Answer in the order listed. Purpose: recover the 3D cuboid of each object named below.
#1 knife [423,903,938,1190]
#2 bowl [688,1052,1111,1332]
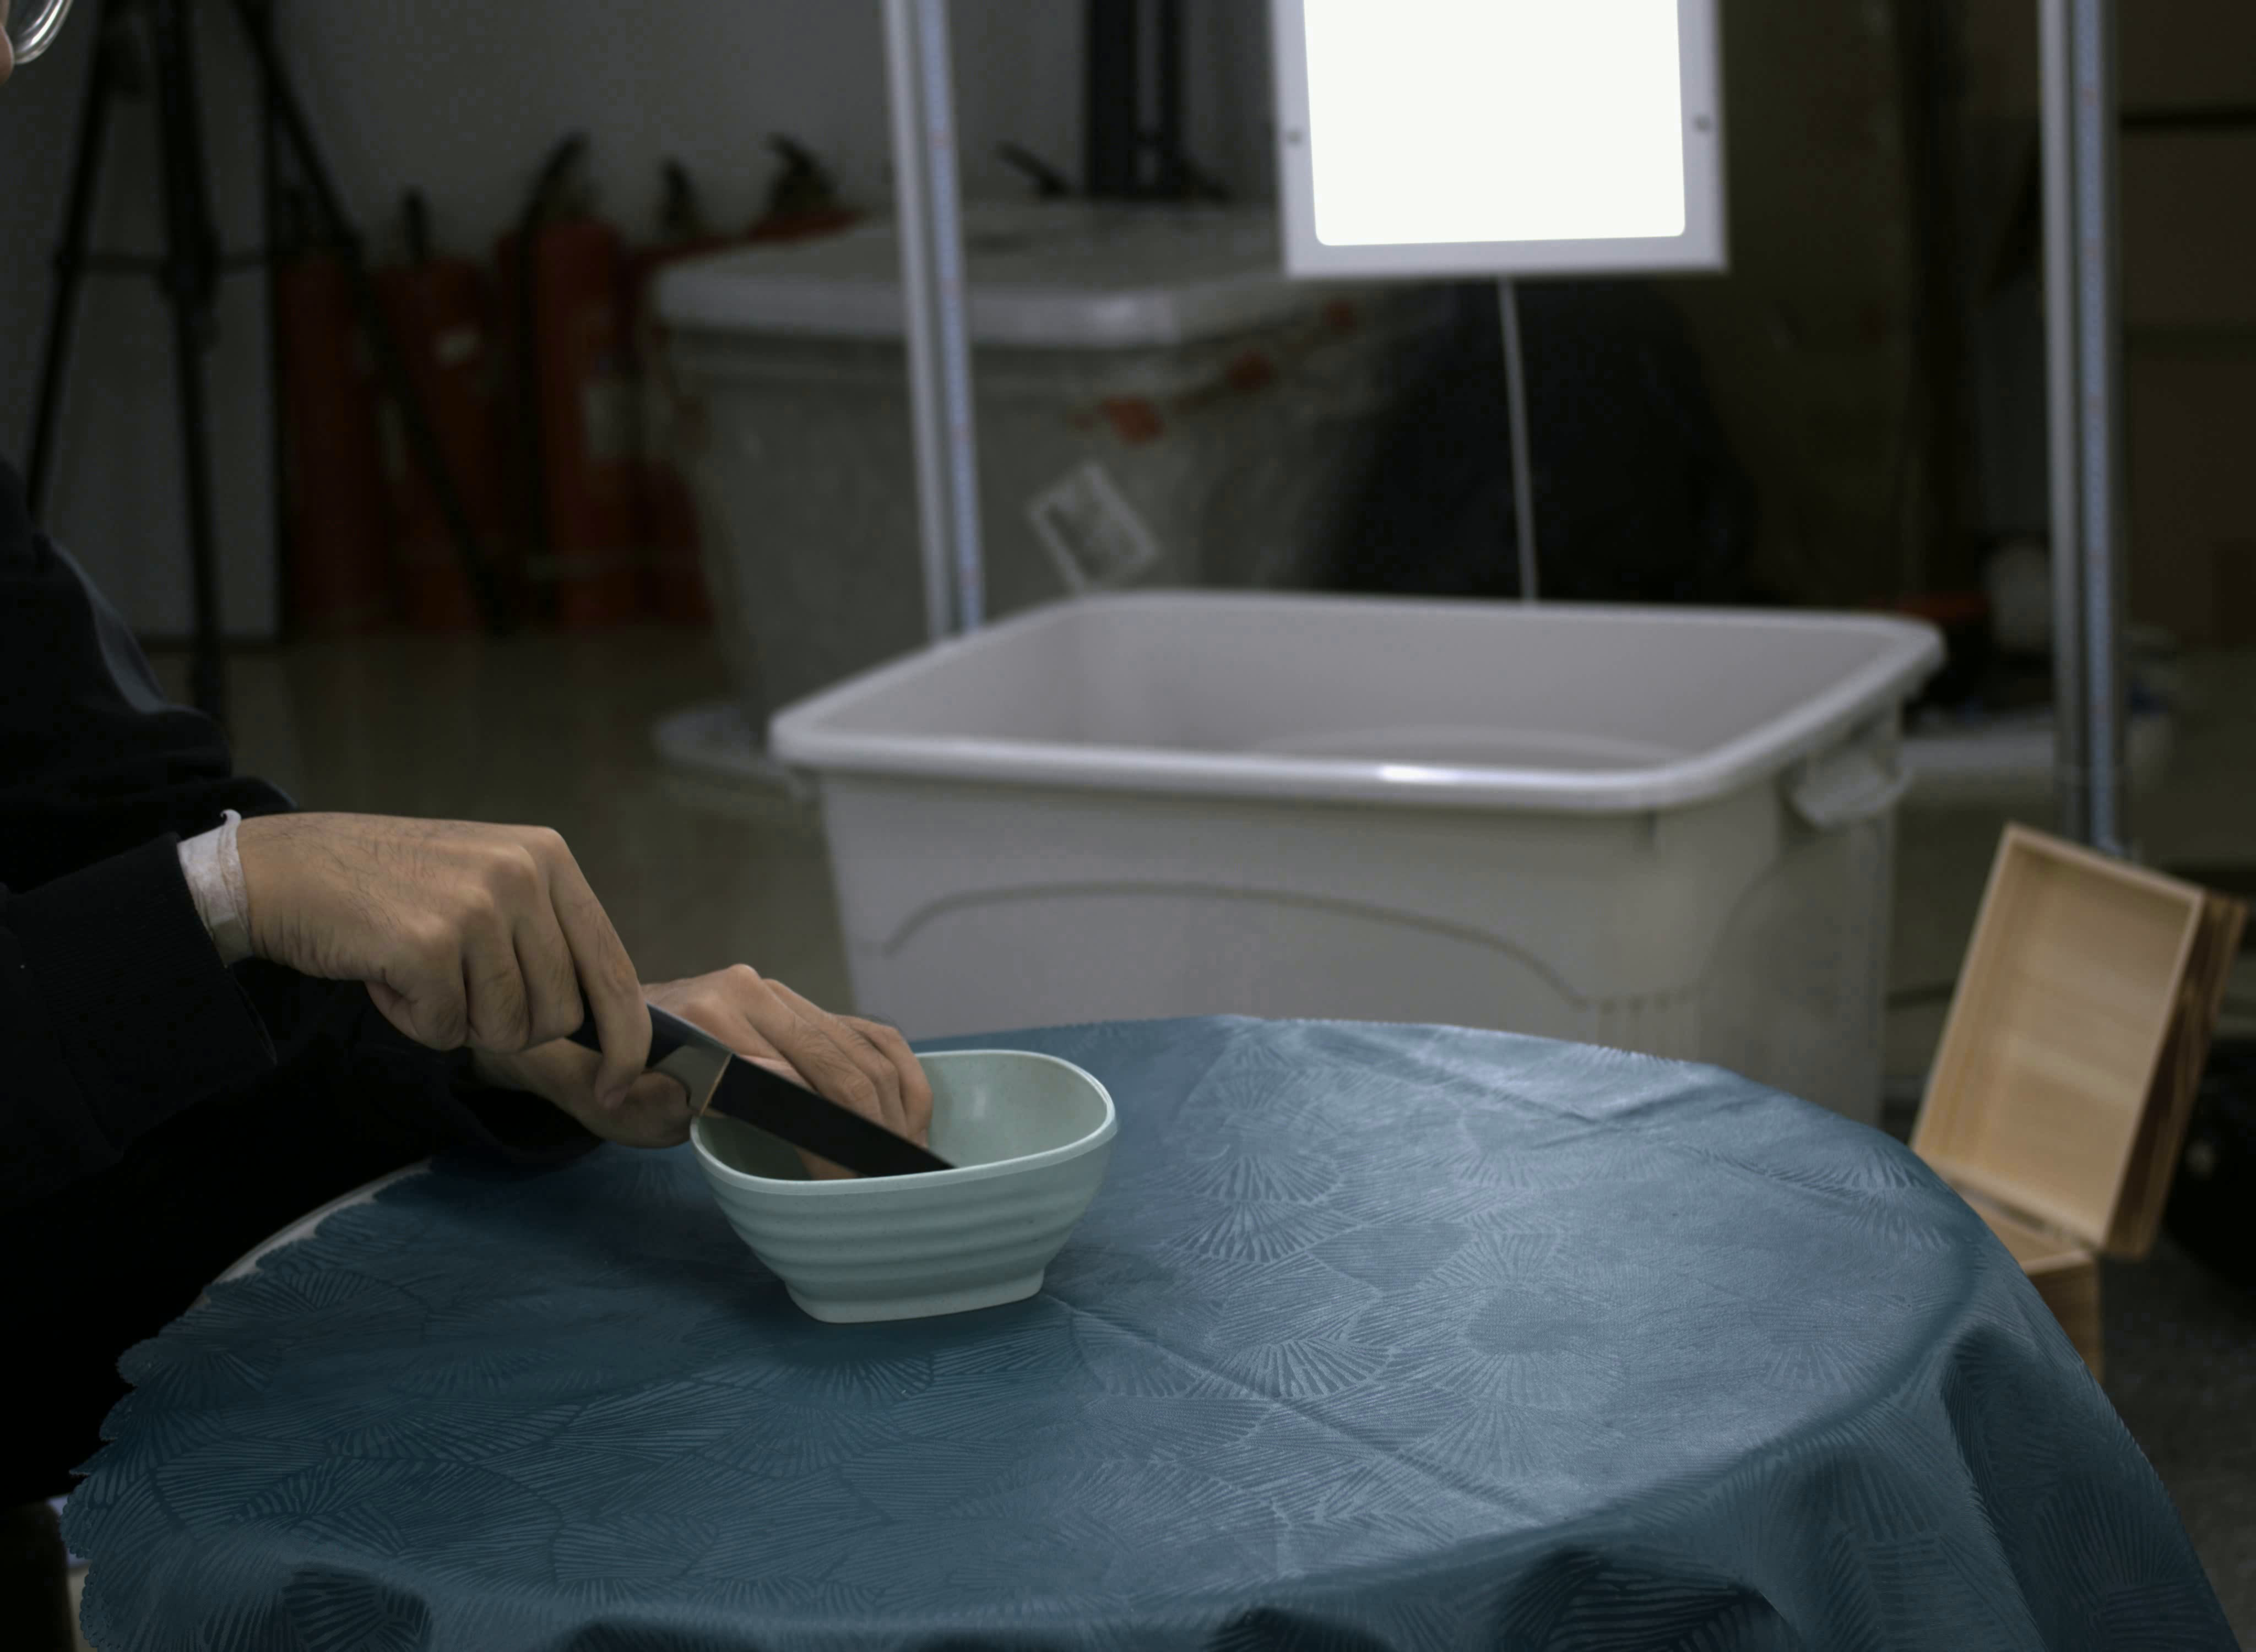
[{"bbox_3d":[-0.131,0.084,1.802,0.224,0.026,0.017,28,18,-7],"label":"knife"},{"bbox_3d":[-0.073,0.124,1.821,0.151,0.059,0.151,-5,15,0],"label":"bowl"}]
